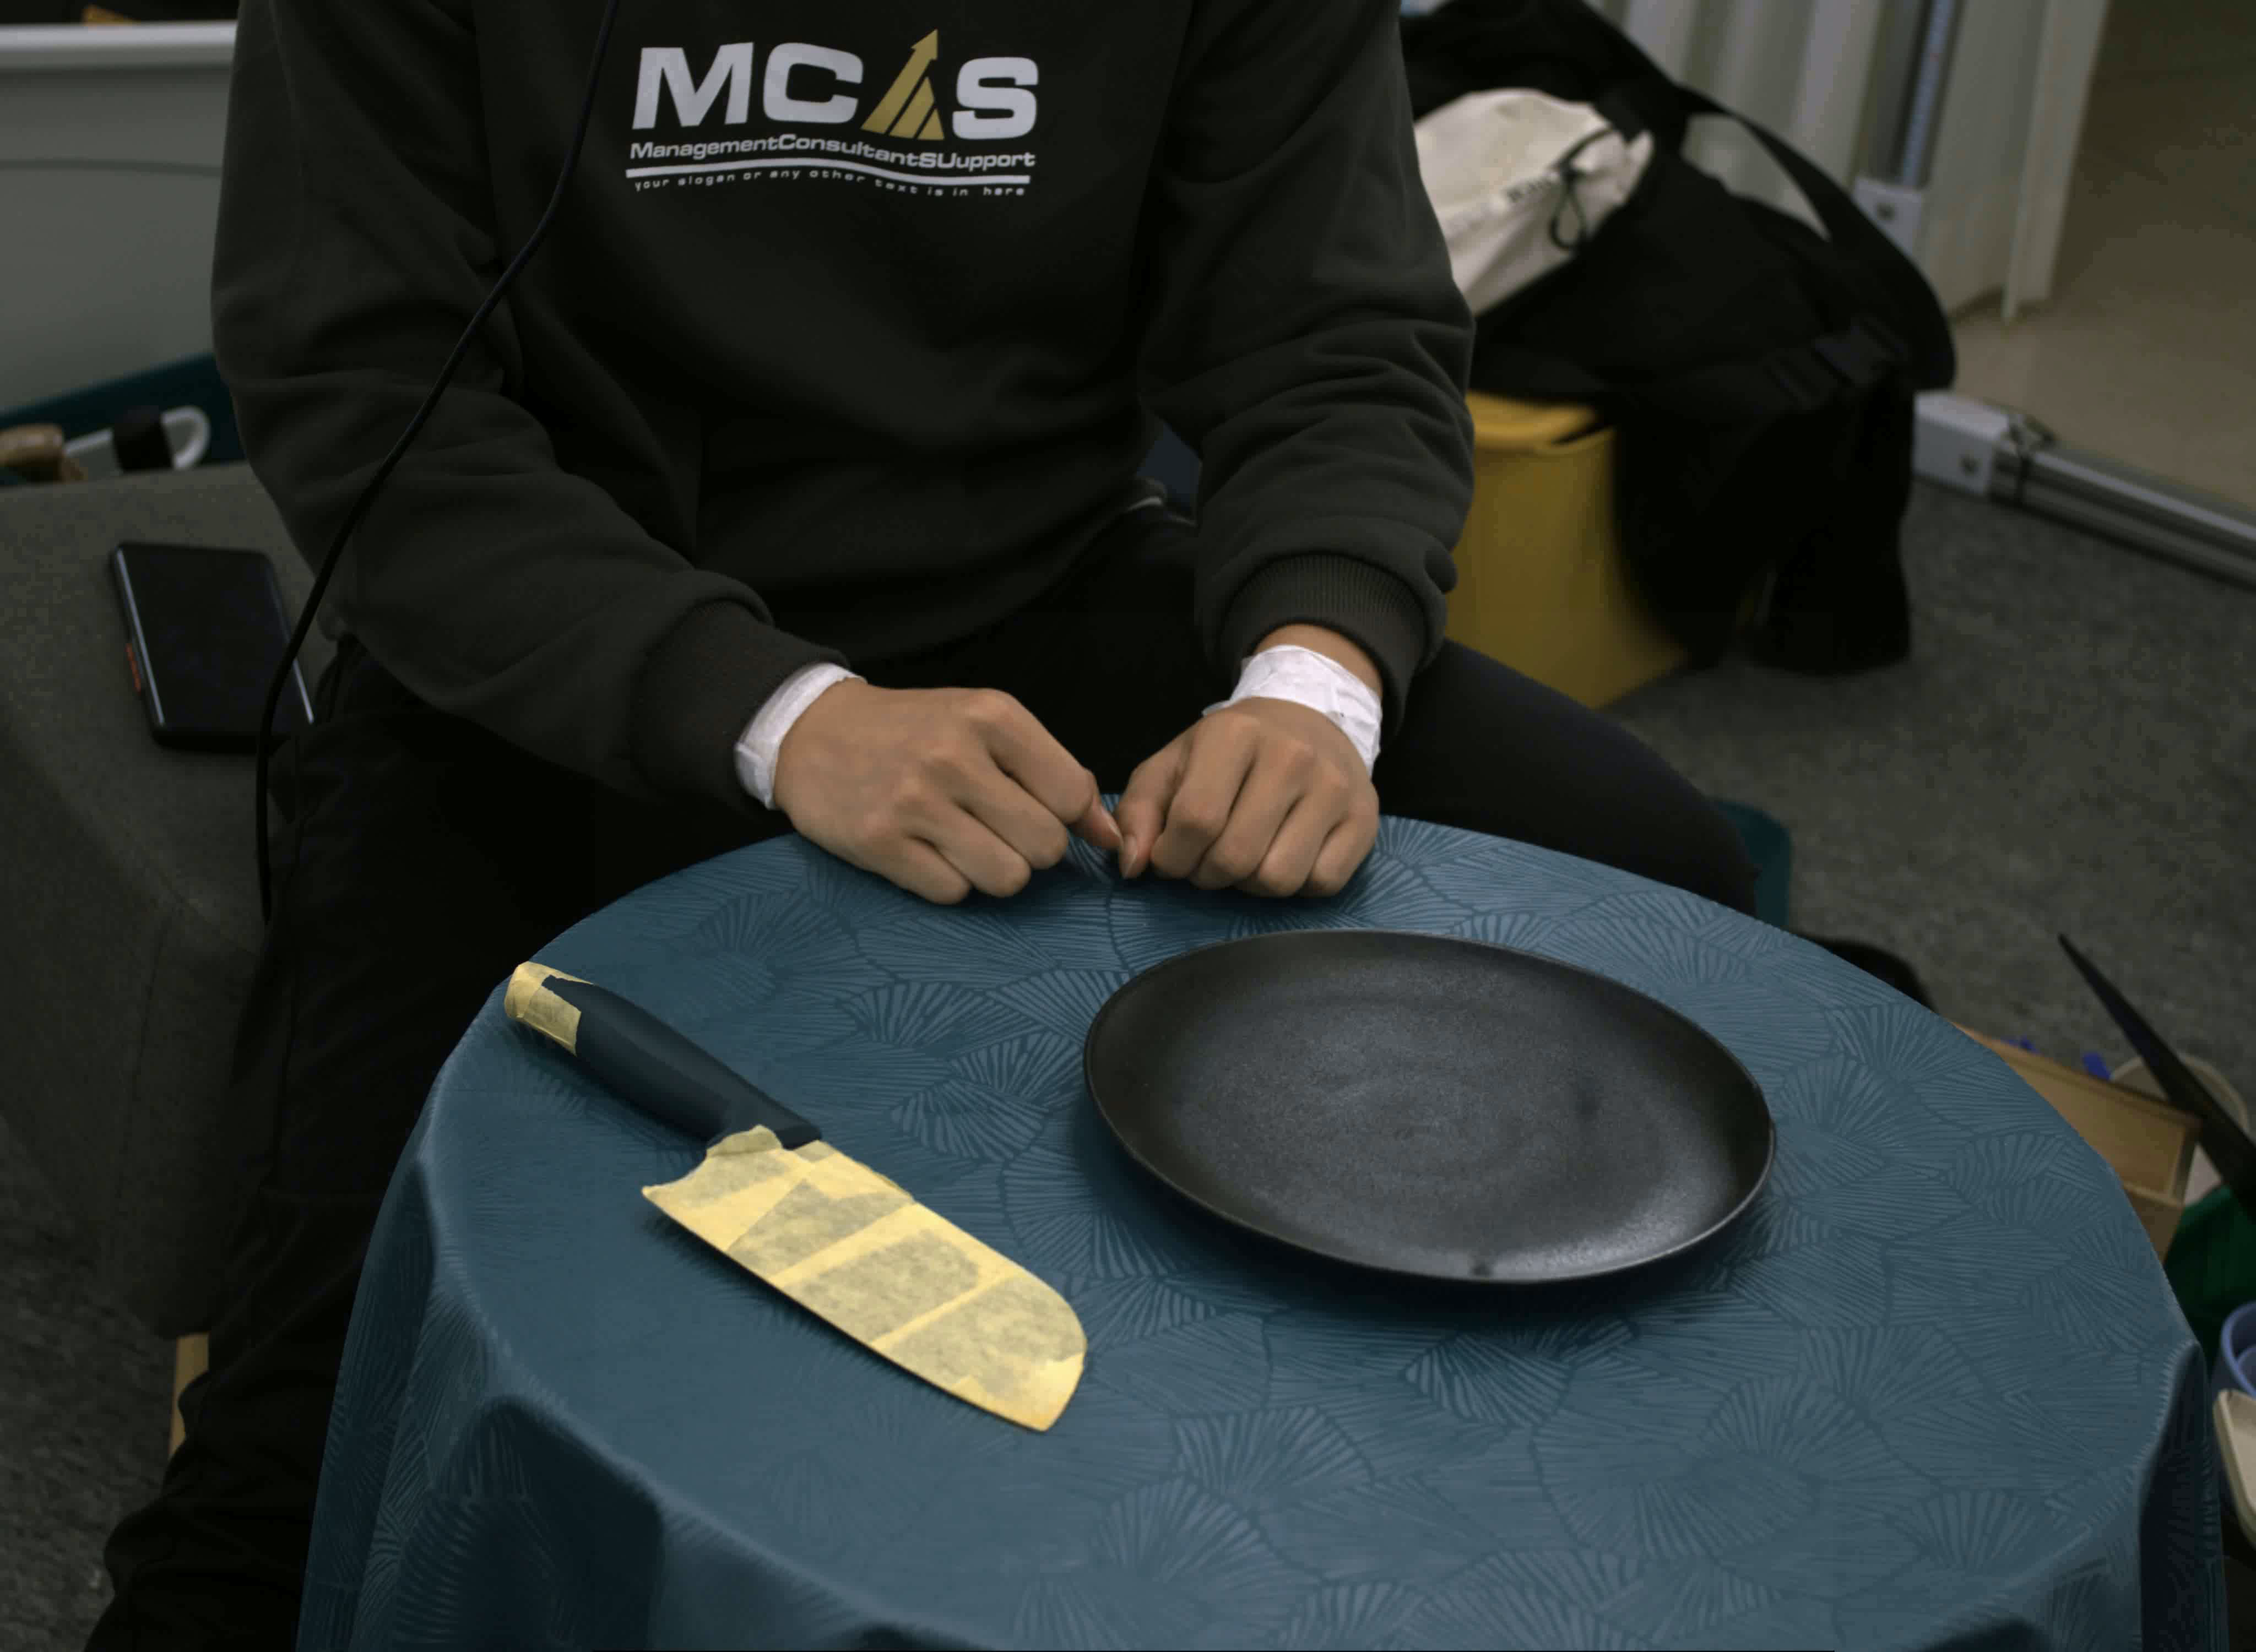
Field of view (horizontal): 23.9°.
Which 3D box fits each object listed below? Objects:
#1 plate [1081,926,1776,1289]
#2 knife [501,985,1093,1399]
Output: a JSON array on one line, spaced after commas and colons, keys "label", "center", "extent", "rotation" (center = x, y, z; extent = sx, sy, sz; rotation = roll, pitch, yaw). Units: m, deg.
[{"label": "plate", "center": [0.103, 0.102, 1.847], "extent": [0.243, 0.023, 0.246], "rotation": [5, 27, -3]}, {"label": "knife", "center": [-0.119, 0.122, 1.766], "extent": [0.080, 0.027, 0.292], "rotation": [-18, 36, -43]}]
